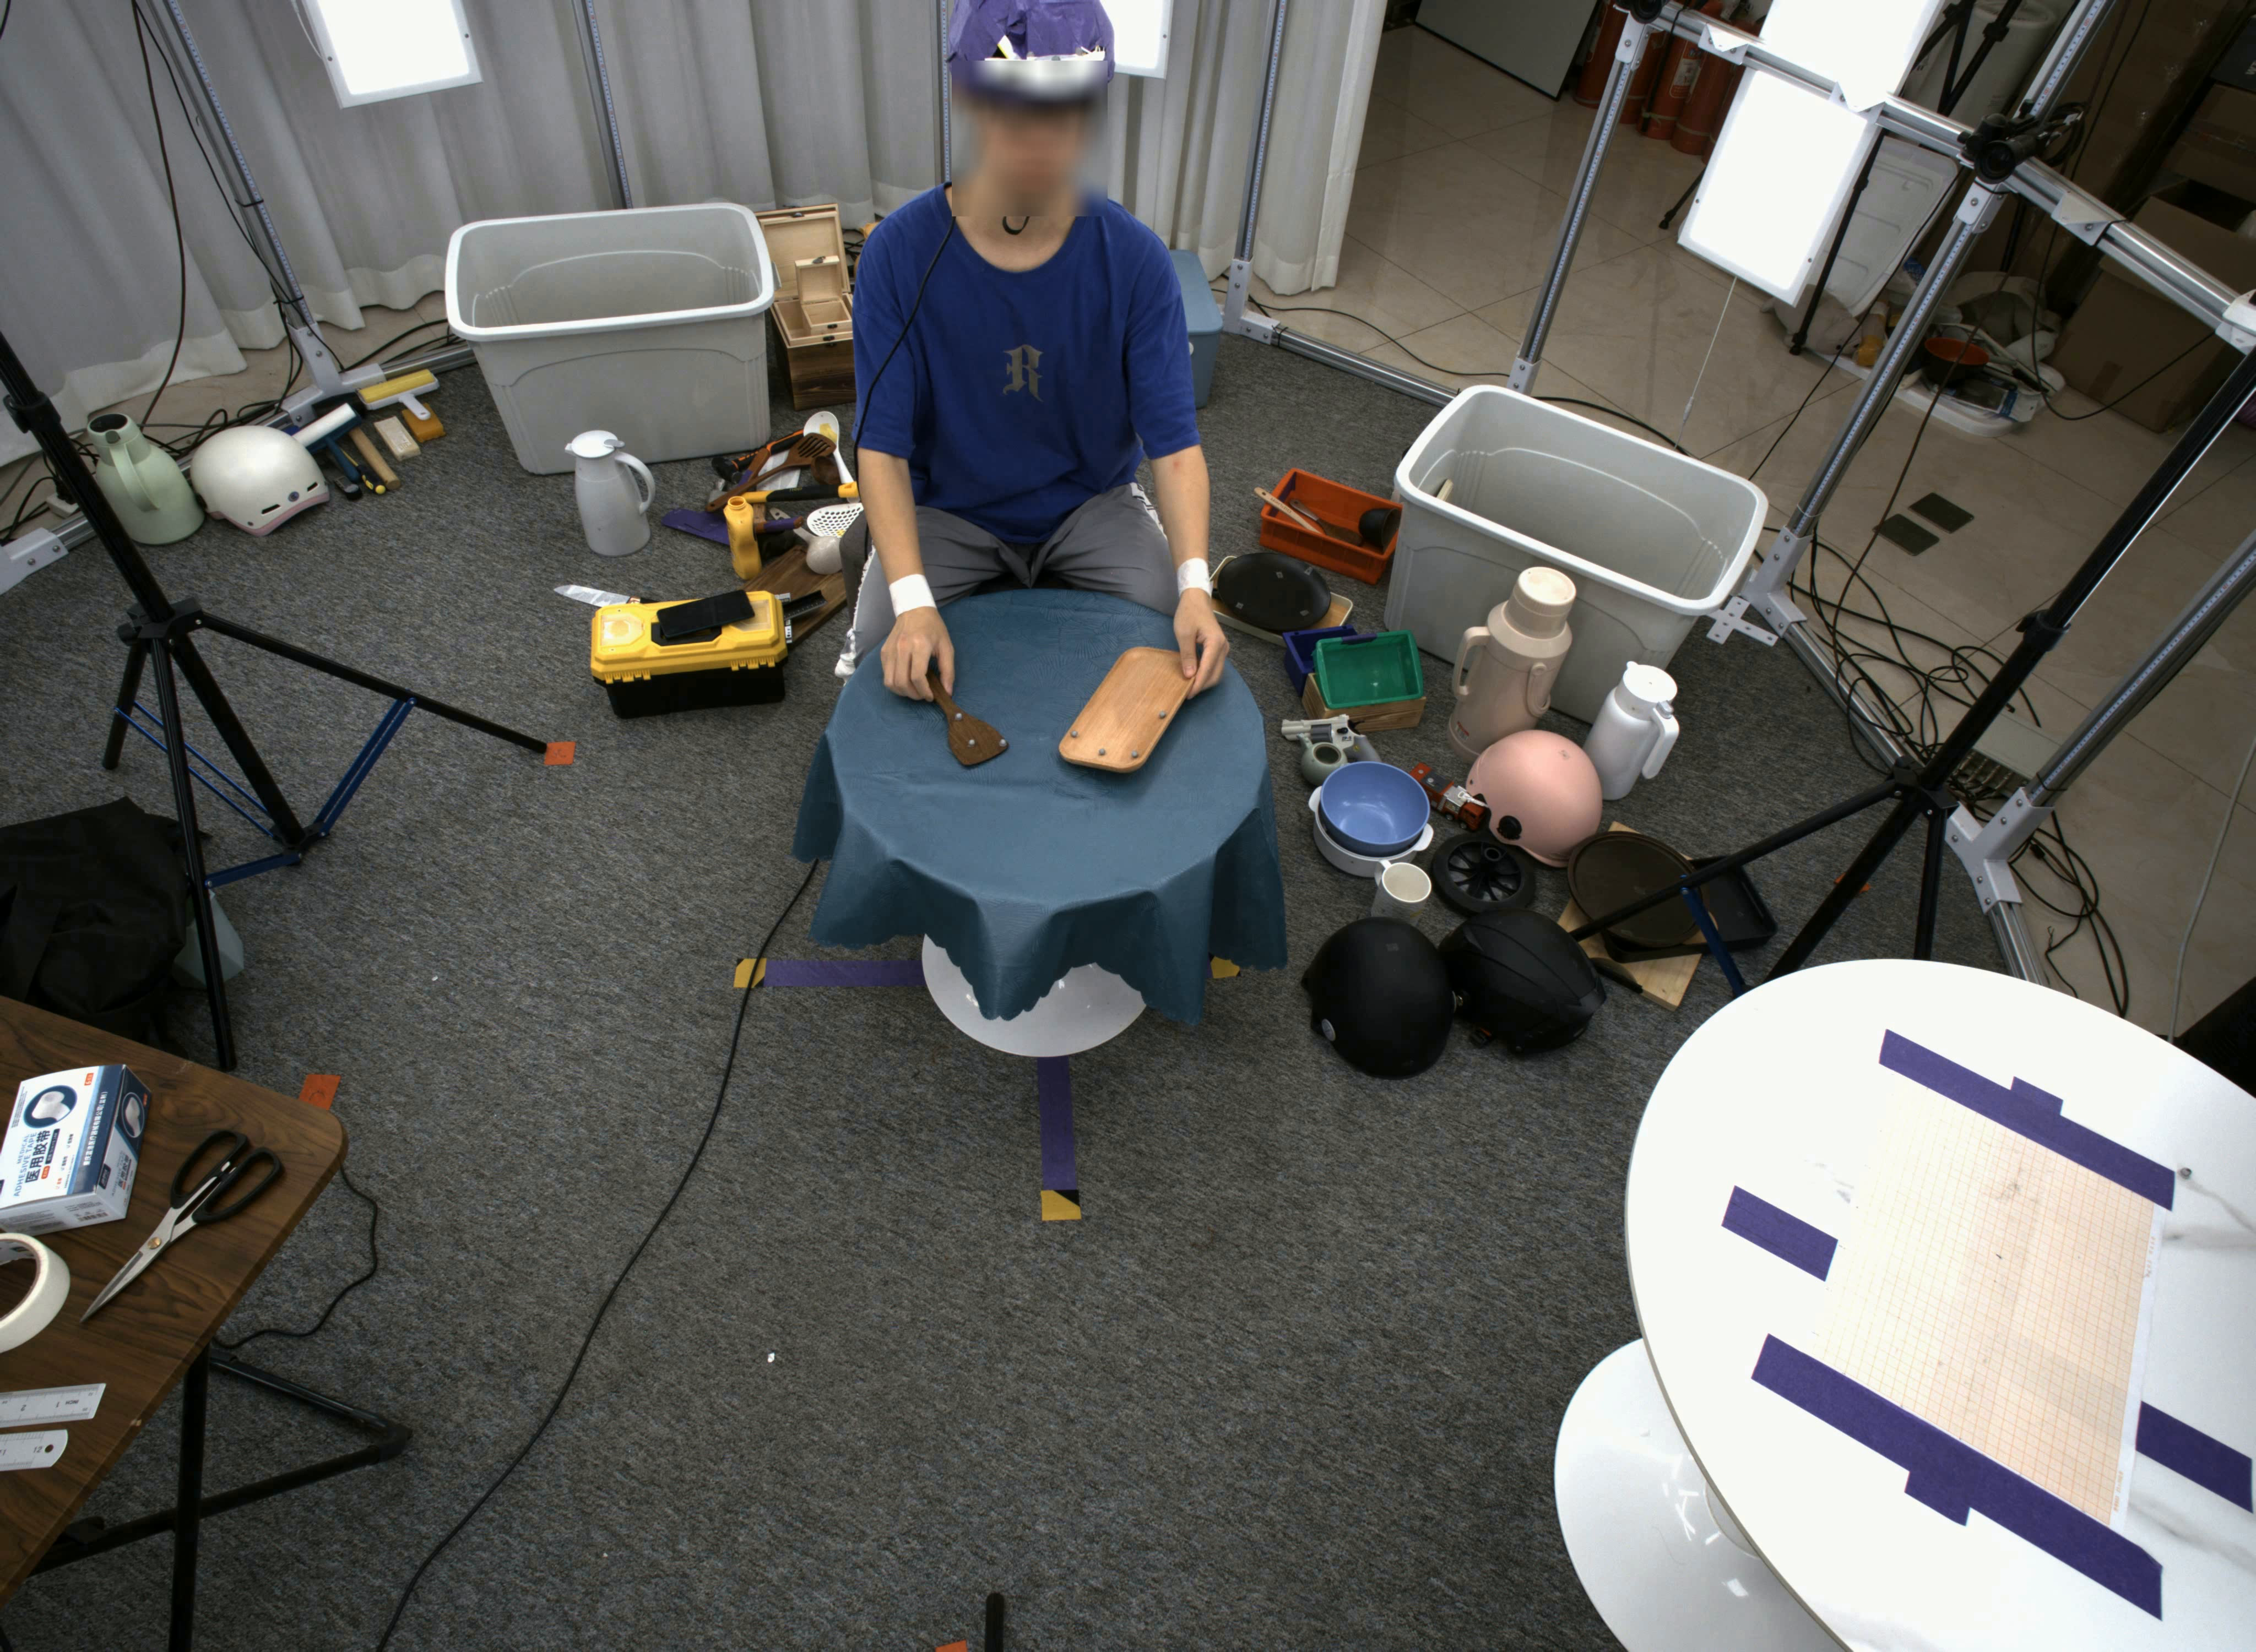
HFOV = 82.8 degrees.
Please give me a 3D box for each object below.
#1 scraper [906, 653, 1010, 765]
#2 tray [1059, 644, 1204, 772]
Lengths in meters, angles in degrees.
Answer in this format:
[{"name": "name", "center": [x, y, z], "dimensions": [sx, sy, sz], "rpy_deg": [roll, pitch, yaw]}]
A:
[{"name": "scraper", "center": [-0.246, -0.166, 1.785], "dimensions": [0.076, 0.010, 0.215], "rpy_deg": [-25, 61, -25]}, {"name": "tray", "center": [0.008, -0.167, 1.788], "dimensions": [0.131, 0.022, 0.255], "rpy_deg": [14, 49, 23]}]
